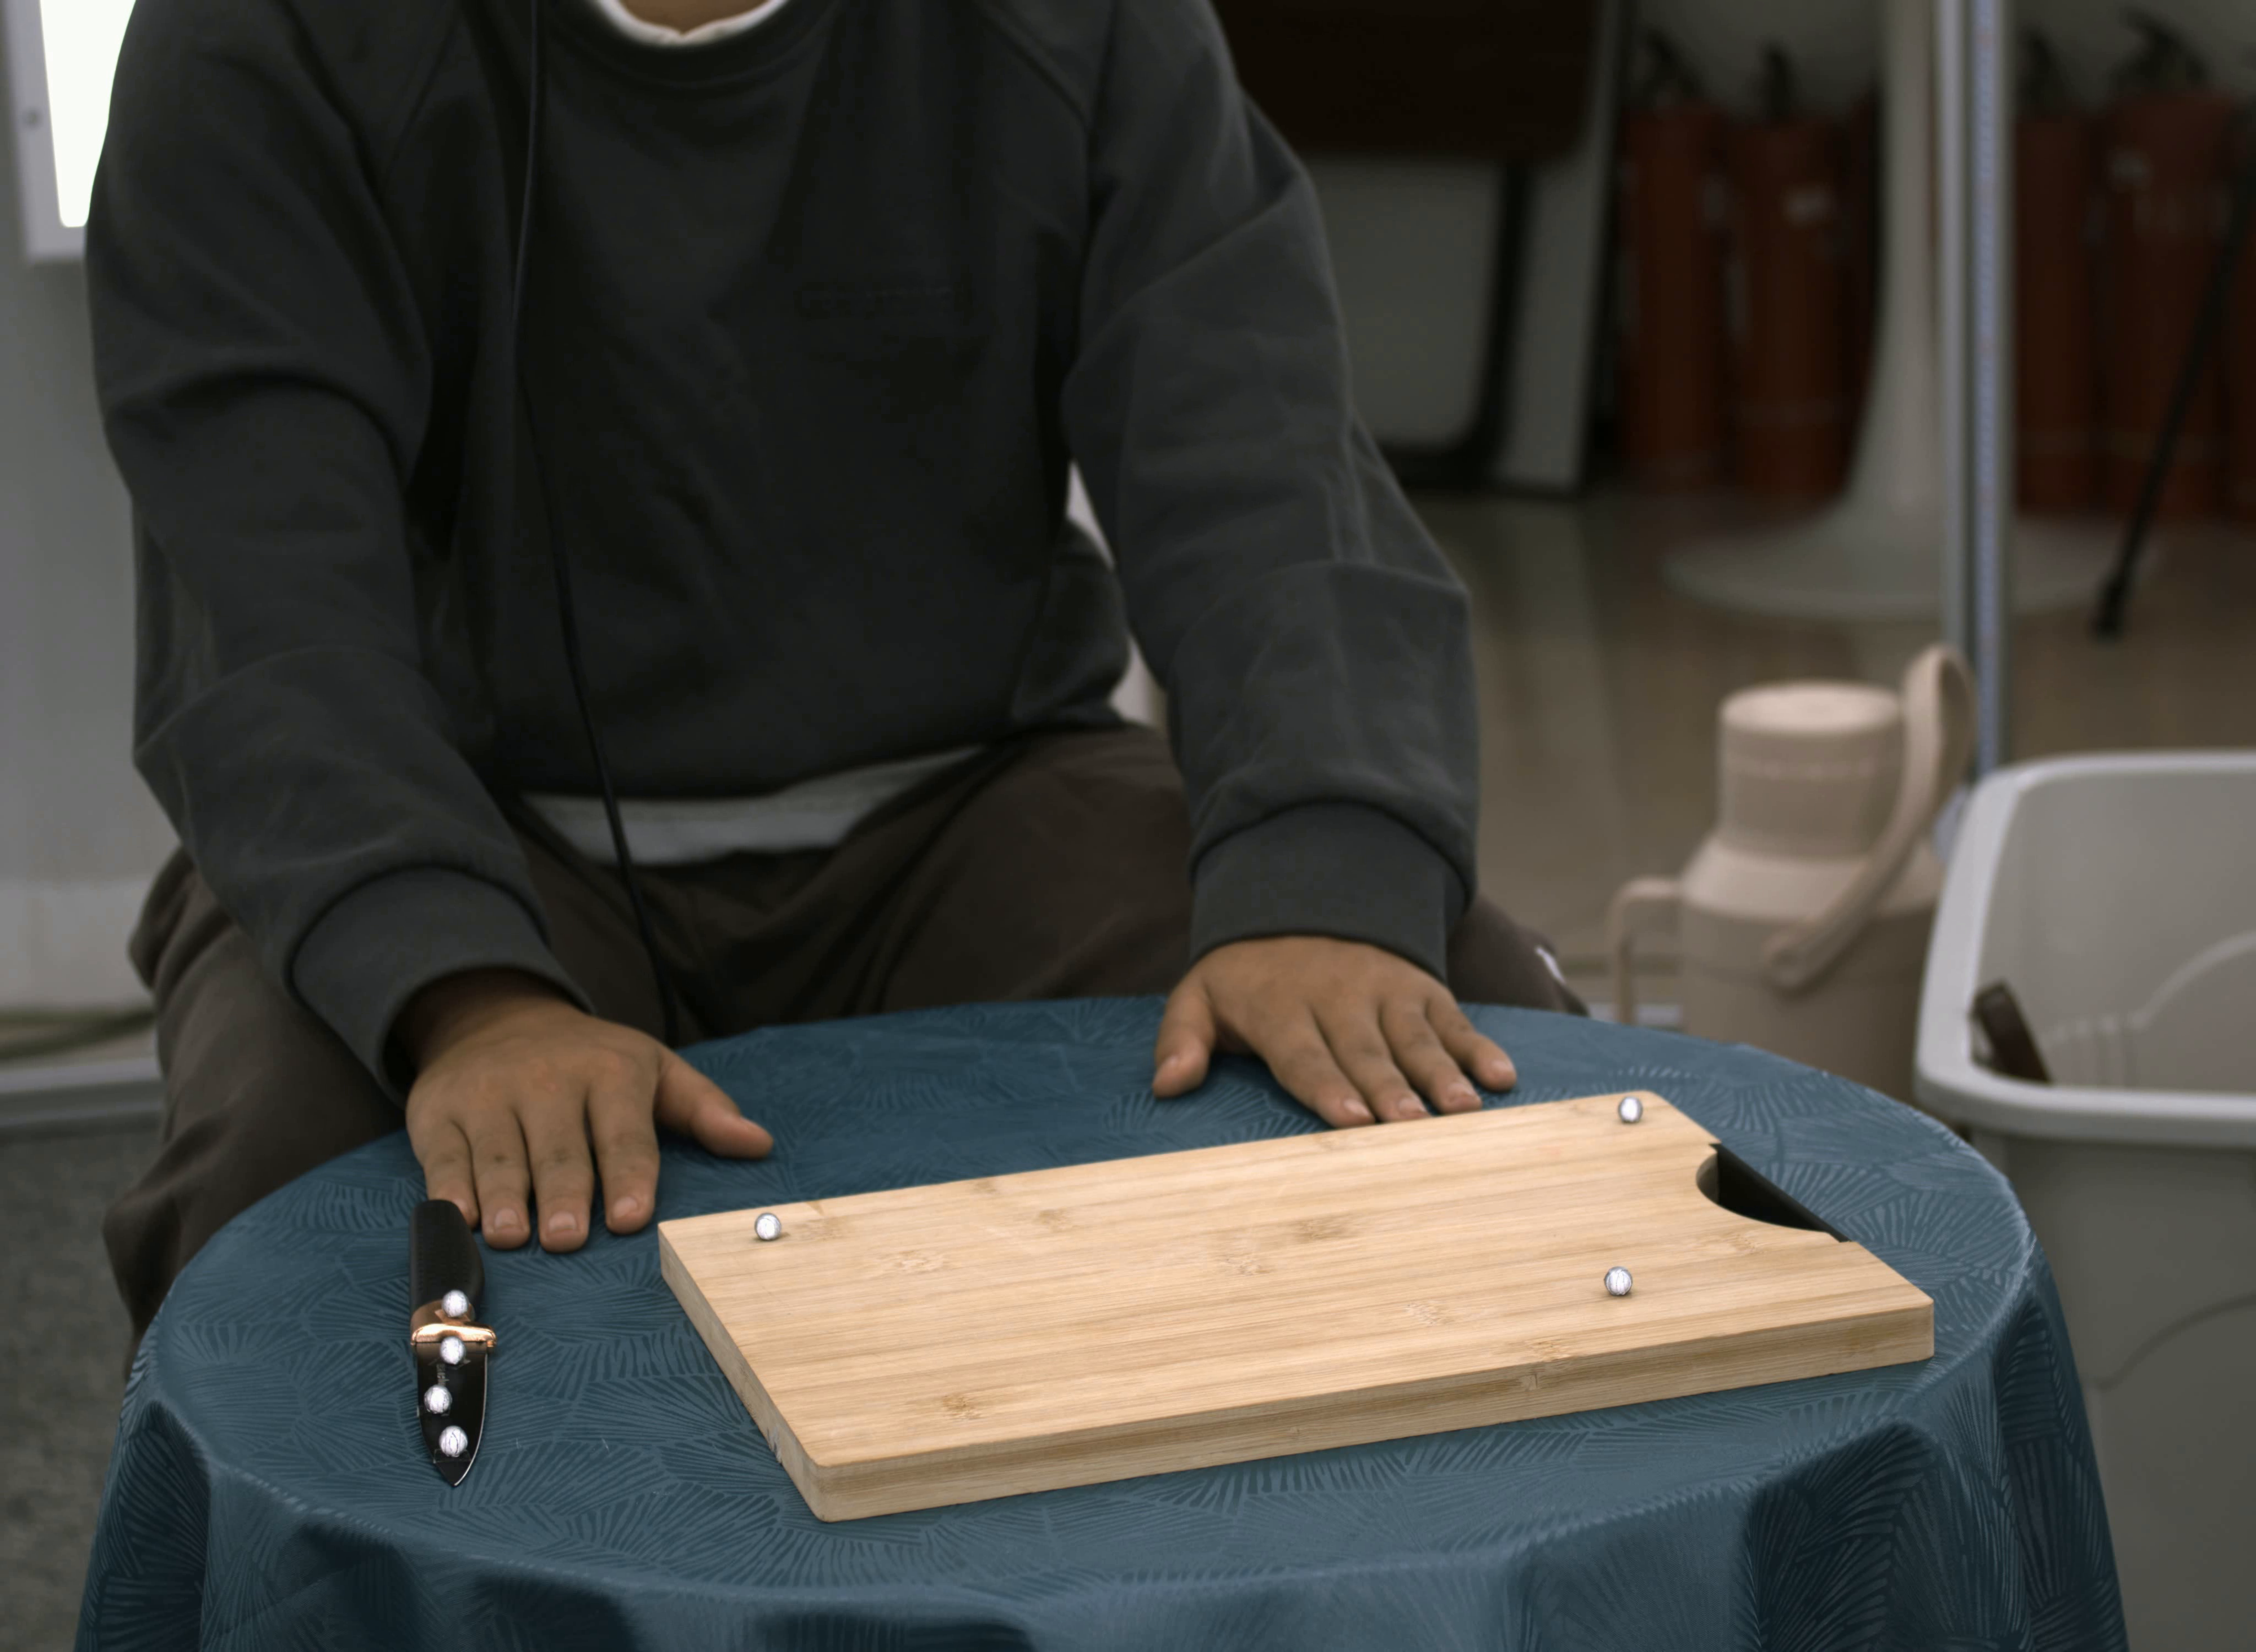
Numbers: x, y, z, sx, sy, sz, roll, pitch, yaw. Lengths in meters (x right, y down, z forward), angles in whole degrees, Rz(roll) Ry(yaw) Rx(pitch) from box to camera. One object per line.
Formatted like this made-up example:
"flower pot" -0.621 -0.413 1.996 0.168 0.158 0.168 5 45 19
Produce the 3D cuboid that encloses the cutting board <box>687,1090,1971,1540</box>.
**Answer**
"cutting board" 0.050 0.142 1.642 0.342 0.024 0.252 -8 14 -14

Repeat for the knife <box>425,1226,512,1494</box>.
"knife" -0.200 0.162 1.646 0.026 0.017 0.226 0 14 -8
